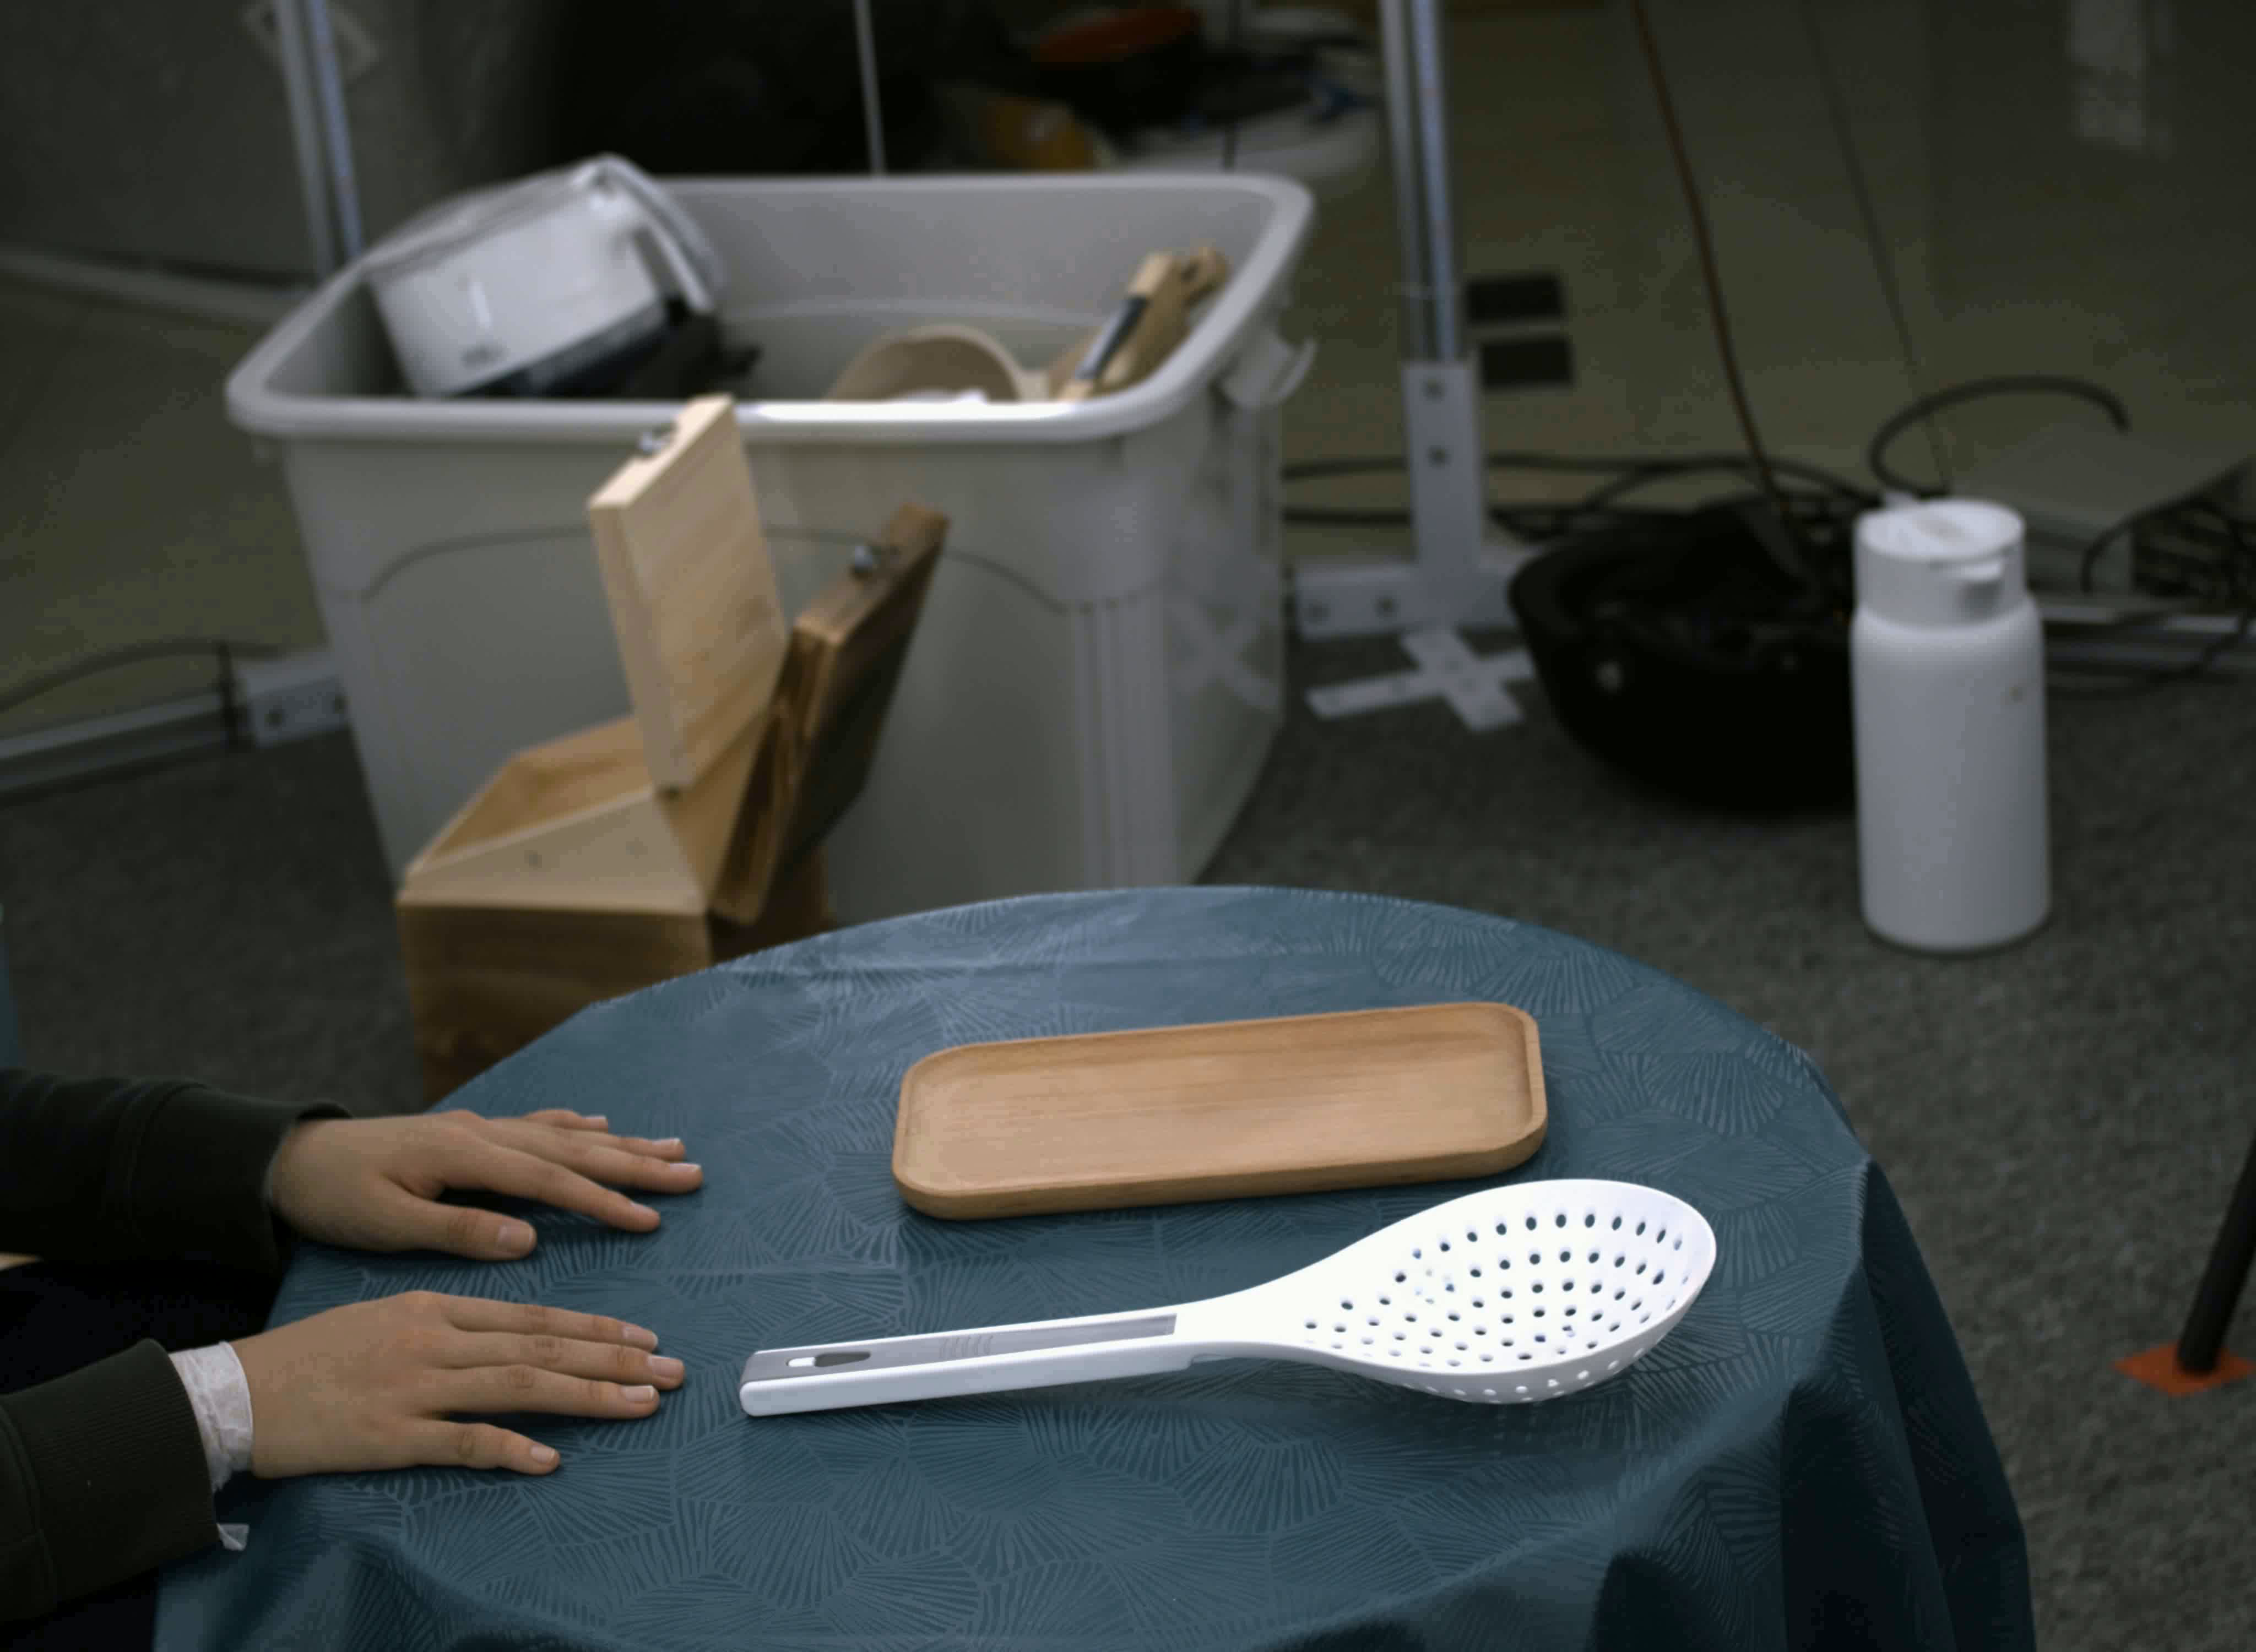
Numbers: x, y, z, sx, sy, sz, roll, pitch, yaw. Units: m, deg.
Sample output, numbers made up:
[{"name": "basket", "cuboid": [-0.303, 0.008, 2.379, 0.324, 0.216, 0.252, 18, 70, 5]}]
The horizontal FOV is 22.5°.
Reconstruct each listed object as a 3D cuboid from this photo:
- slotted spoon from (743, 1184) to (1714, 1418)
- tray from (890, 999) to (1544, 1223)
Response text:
[{"name": "slotted spoon", "cuboid": [0.034, 0.178, 2.006, 0.349, 0.046, 0.134, -4, 23, 8]}, {"name": "tray", "cuboid": [0.034, 0.110, 2.187, 0.250, 0.023, 0.129, -6, 23, 4]}]
